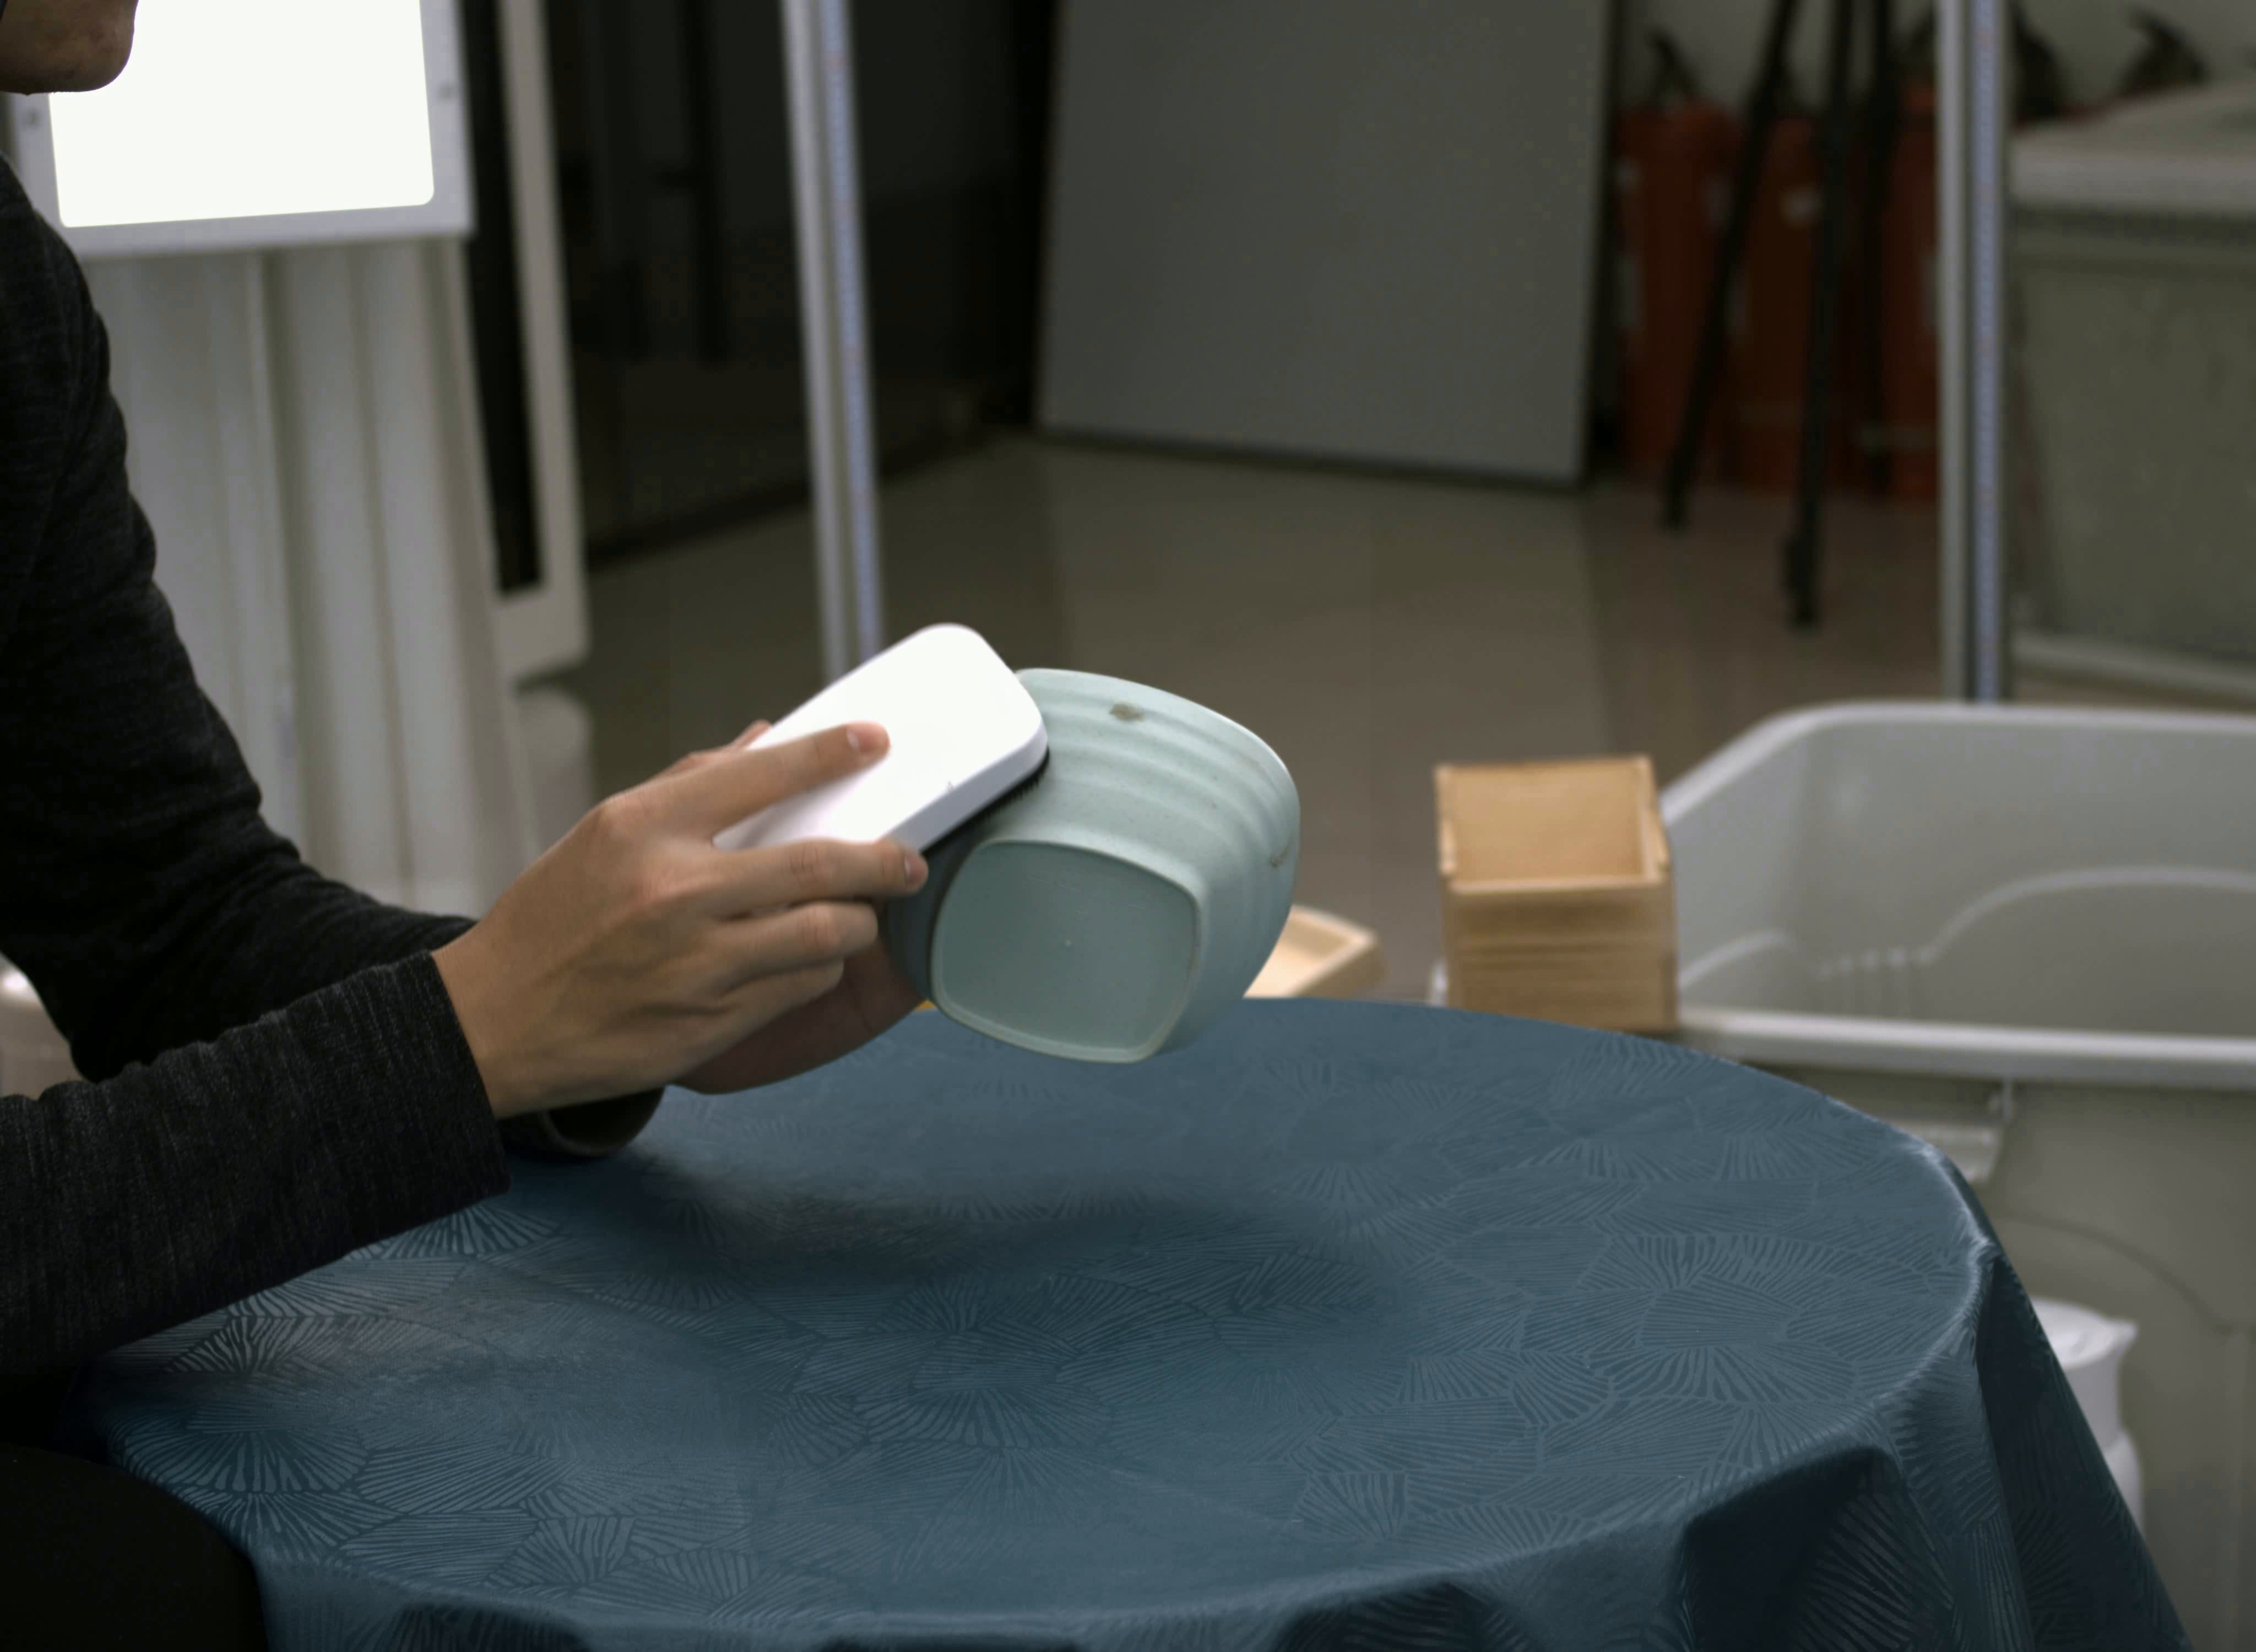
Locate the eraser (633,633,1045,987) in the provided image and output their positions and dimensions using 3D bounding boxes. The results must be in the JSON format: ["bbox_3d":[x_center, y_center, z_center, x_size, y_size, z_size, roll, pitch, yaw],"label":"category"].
[{"bbox_3d":[-0.089,-0.007,1.670,0.130,0.034,0.064,-34,51,-7],"label":"eraser"}]

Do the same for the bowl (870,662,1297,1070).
[{"bbox_3d":[-0.018,0.024,1.716,0.150,0.152,0.059,-1,33,11],"label":"bowl"}]
